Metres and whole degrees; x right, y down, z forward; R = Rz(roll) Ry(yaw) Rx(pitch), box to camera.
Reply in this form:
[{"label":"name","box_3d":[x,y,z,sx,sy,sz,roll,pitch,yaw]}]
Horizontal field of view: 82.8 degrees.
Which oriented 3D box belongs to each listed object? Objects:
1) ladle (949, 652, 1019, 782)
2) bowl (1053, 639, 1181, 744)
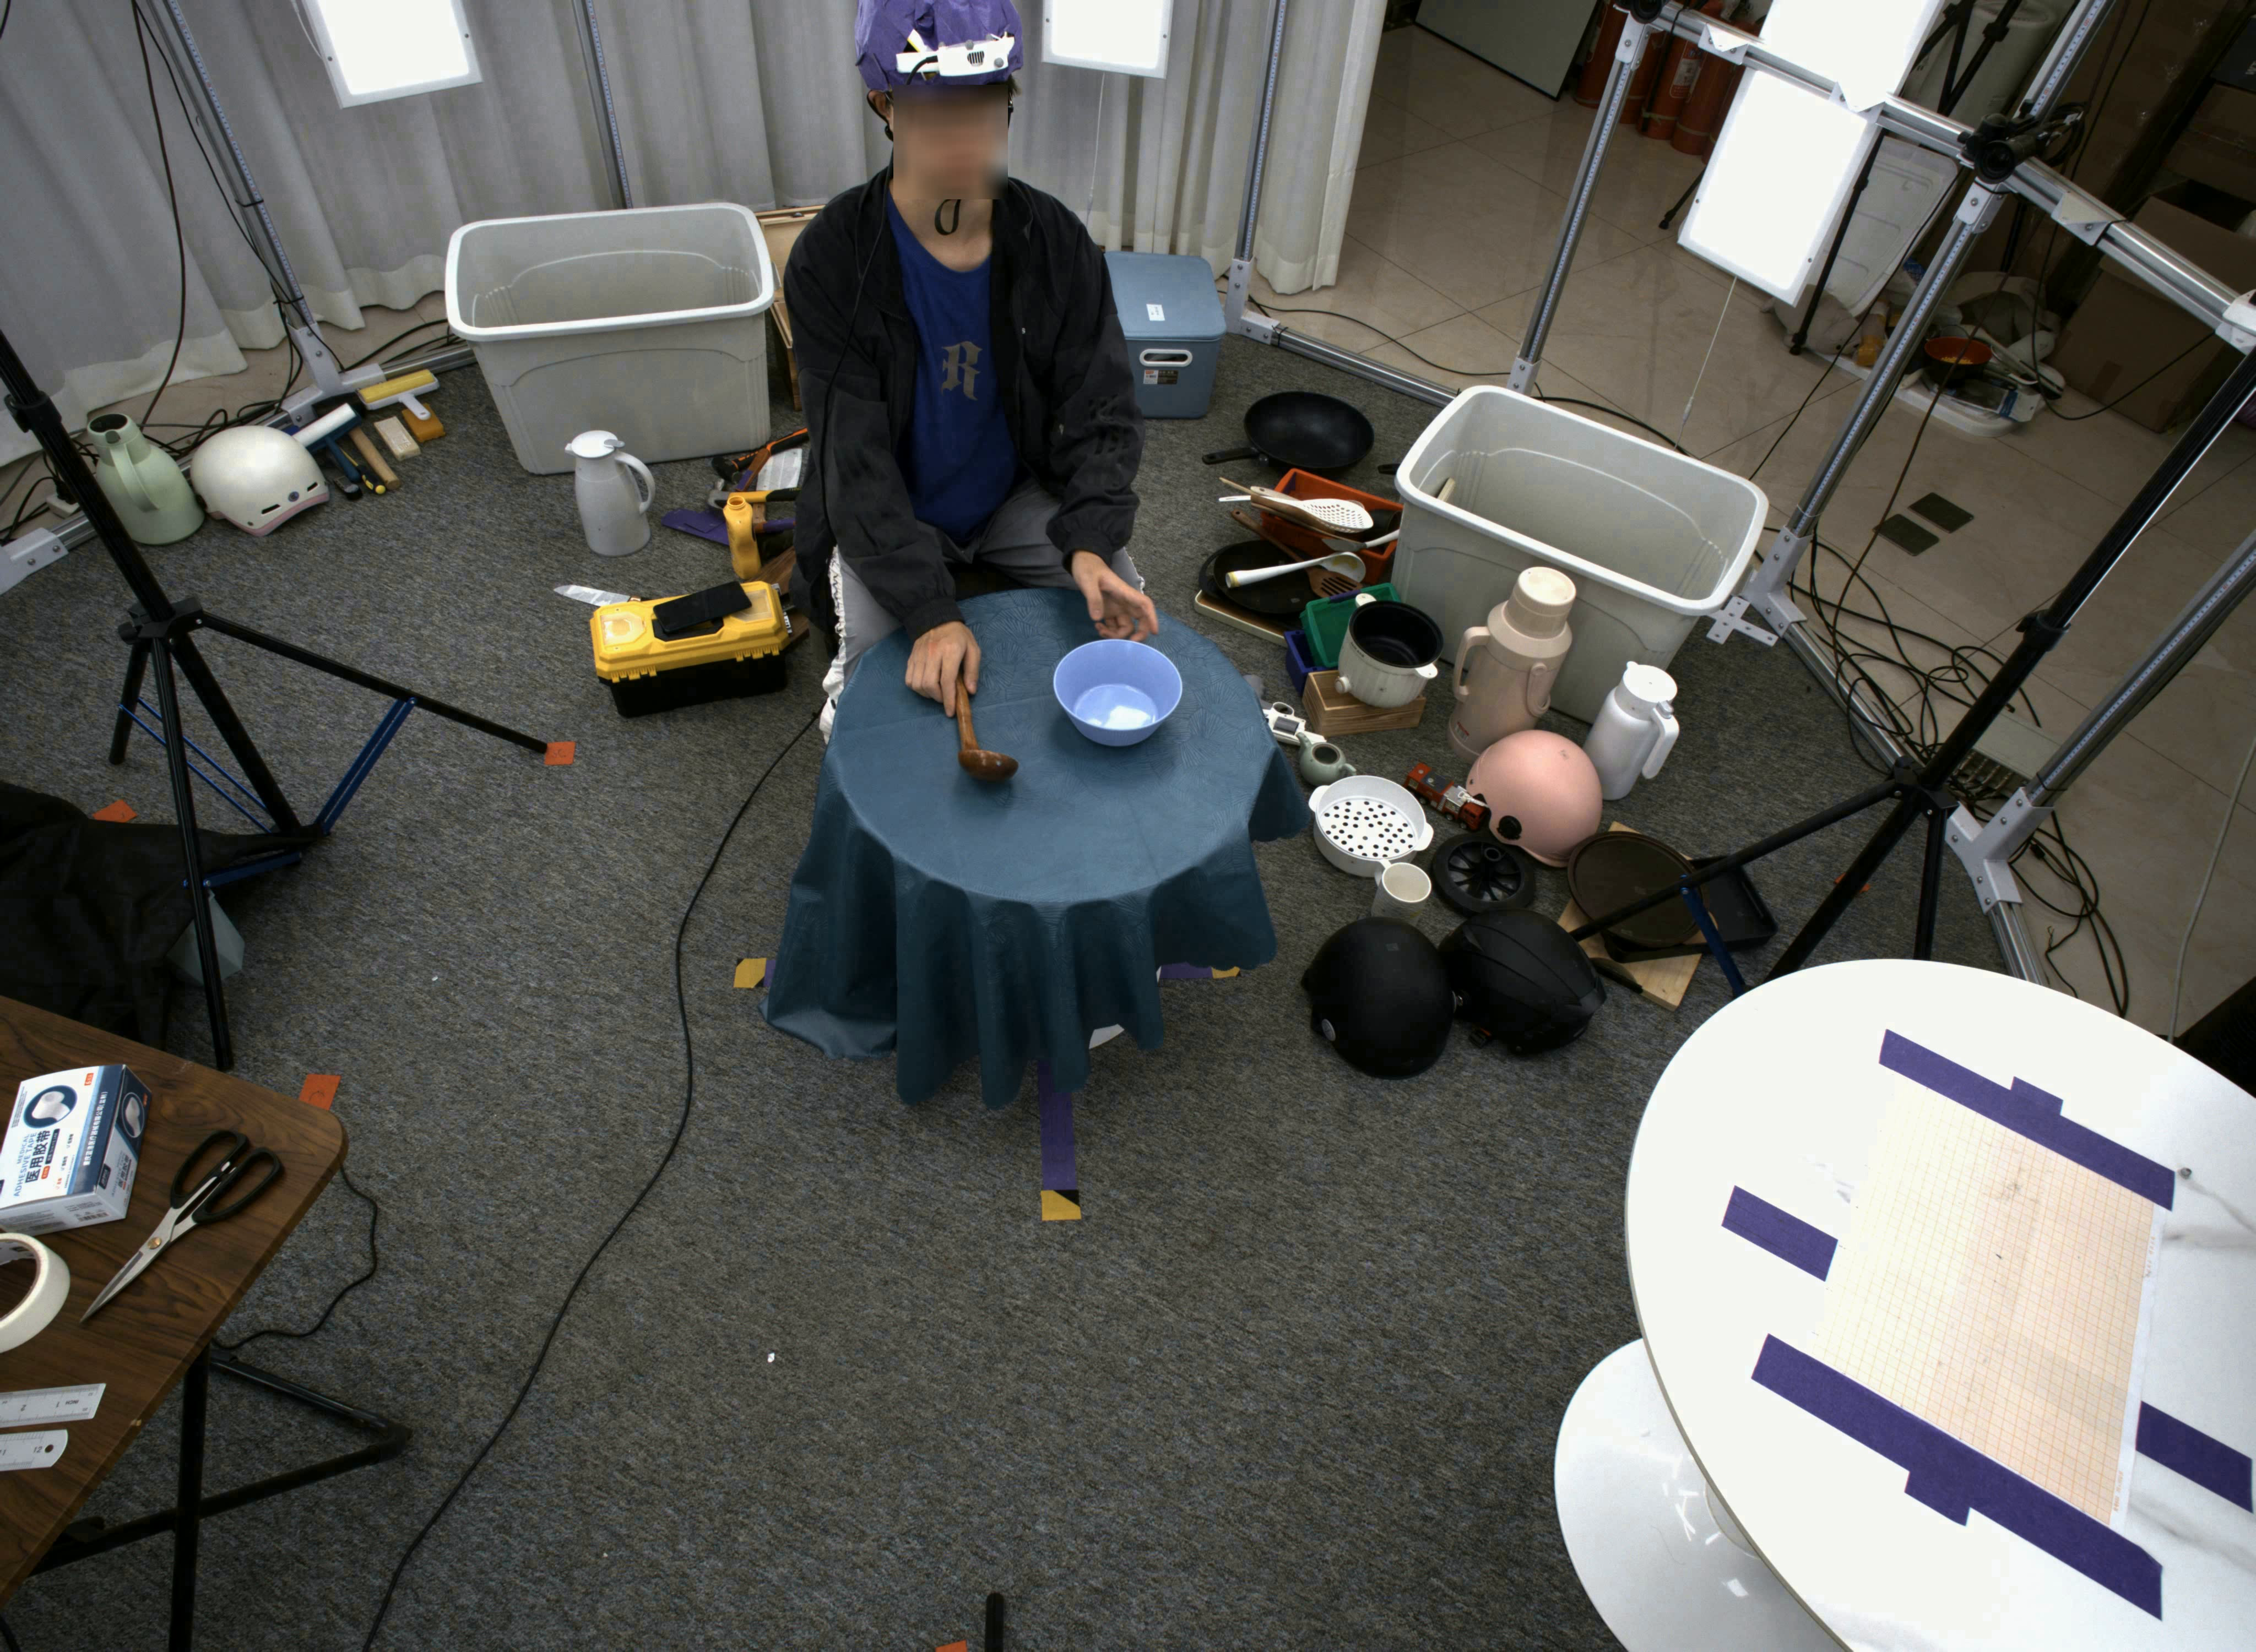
[{"label":"ladle","box_3d":[-0.205,-0.164,1.756,0.080,0.076,0.281,28,34,-37]},{"label":"bowl","box_3d":[-0.017,-0.177,1.779,0.176,0.068,0.180,2,49,-3]}]
